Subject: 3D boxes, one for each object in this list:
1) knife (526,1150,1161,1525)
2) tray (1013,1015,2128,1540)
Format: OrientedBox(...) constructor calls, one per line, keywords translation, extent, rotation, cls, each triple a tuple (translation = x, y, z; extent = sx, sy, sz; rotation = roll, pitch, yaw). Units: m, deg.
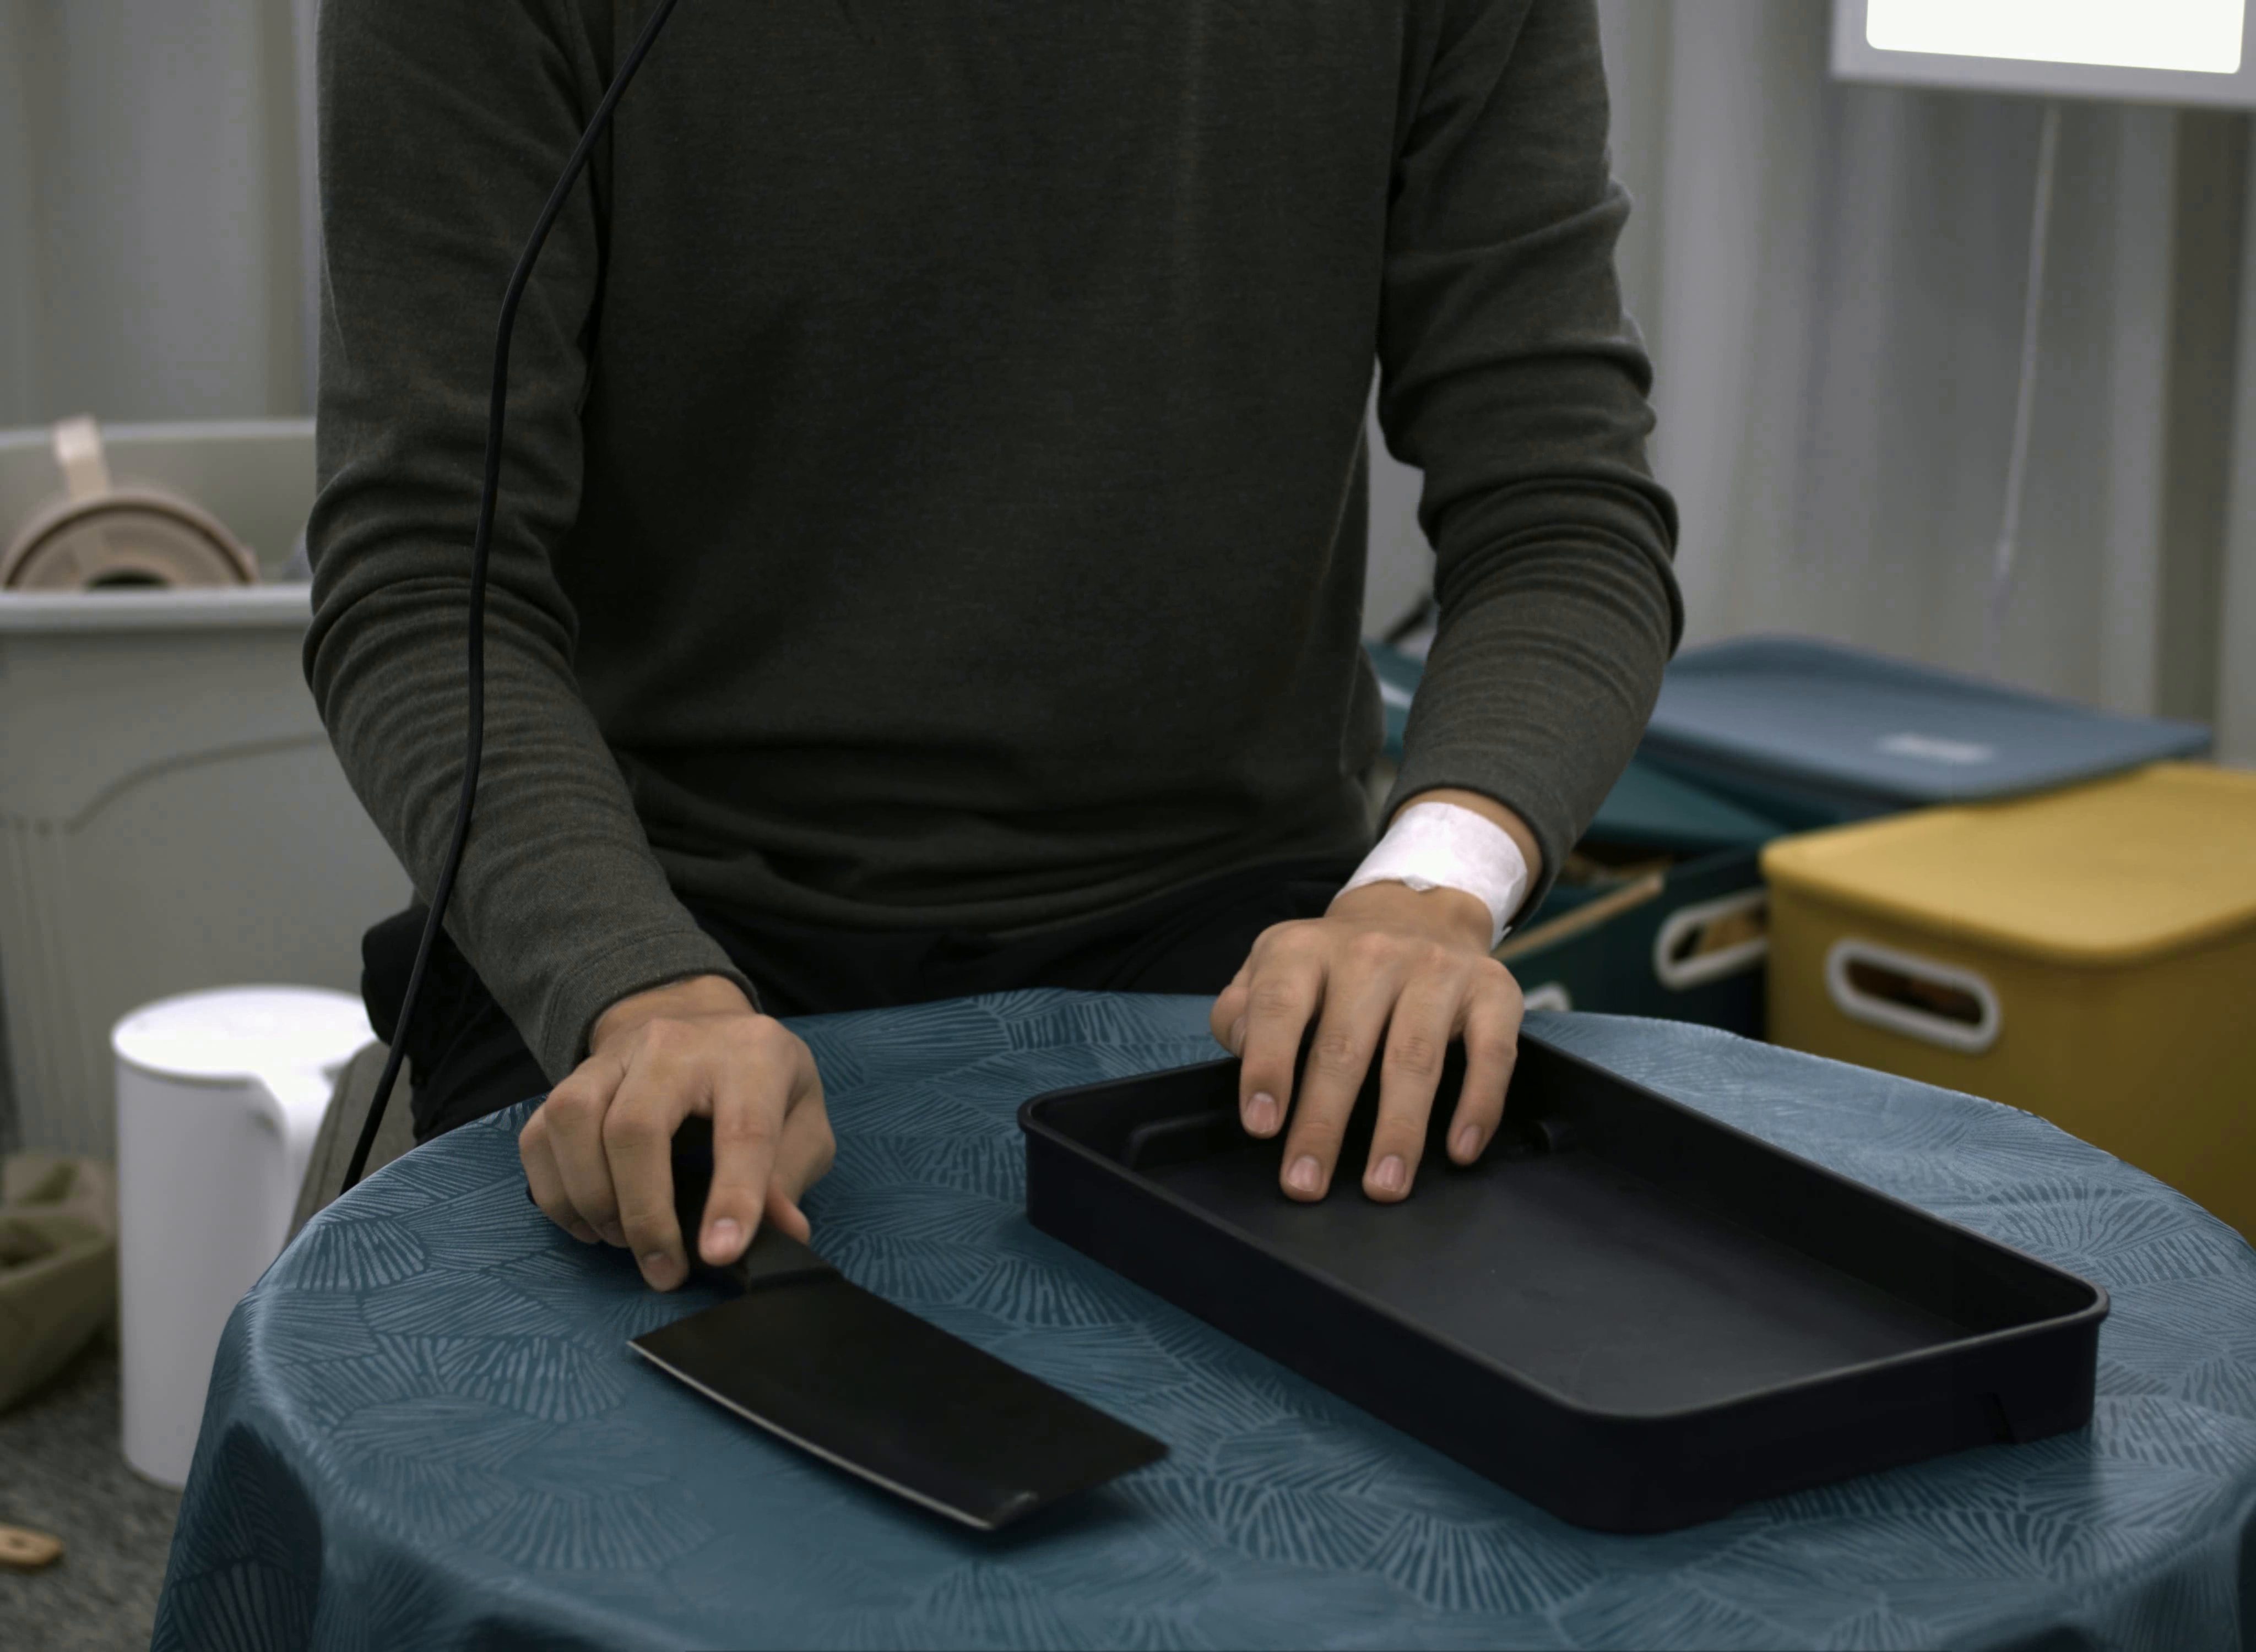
OrientedBox(translation=(-0.096, 0.140, 1.477), extent=(0.081, 0.021, 0.298), rotation=(-17, 21, -26), cls="knife")
OrientedBox(translation=(0.120, 0.123, 1.521), extent=(0.185, 0.037, 0.314), rotation=(-9, 18, -33), cls="tray")
